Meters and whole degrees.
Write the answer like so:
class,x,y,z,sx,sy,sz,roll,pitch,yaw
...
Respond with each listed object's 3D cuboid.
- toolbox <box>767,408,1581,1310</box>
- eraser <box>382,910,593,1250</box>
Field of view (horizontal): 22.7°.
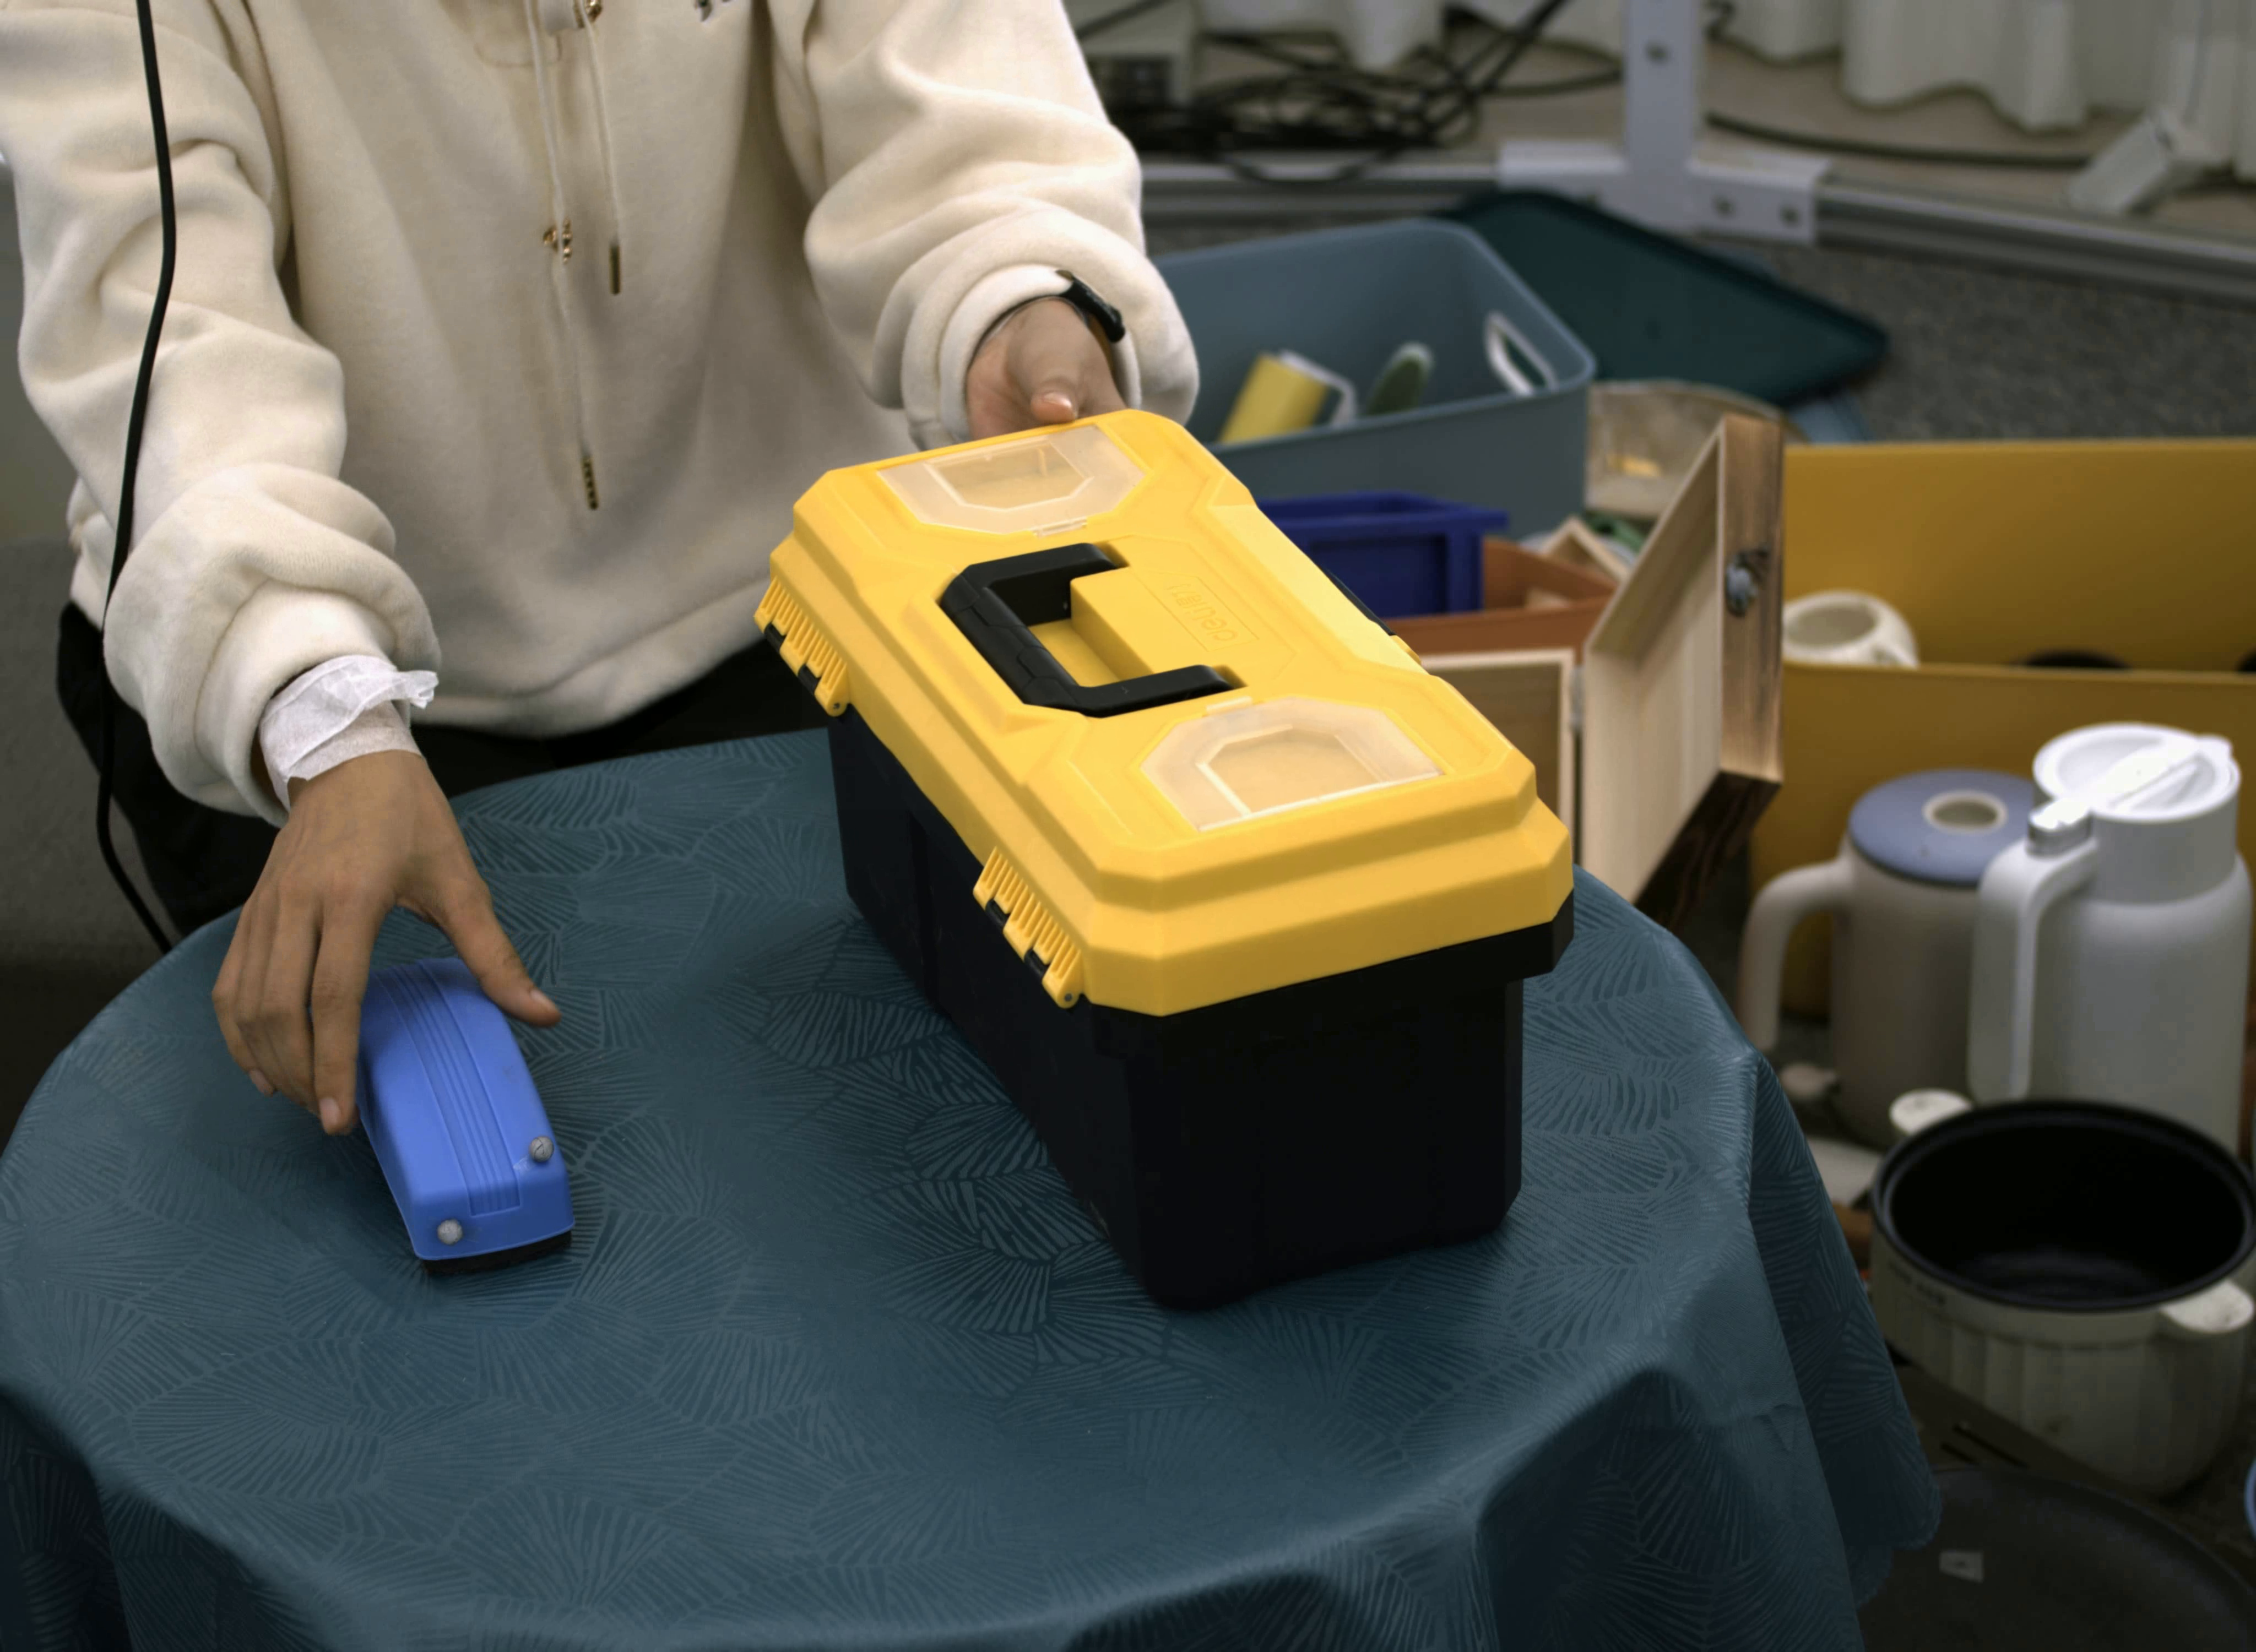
class,x,y,z,sx,sy,sz,roll,pitch,yaw
toolbox,0.010,0.004,1.902,0.182,0.171,0.354,-13,29,-17
eraser,-0.219,0.080,1.898,0.054,0.047,0.164,-15,31,-6
